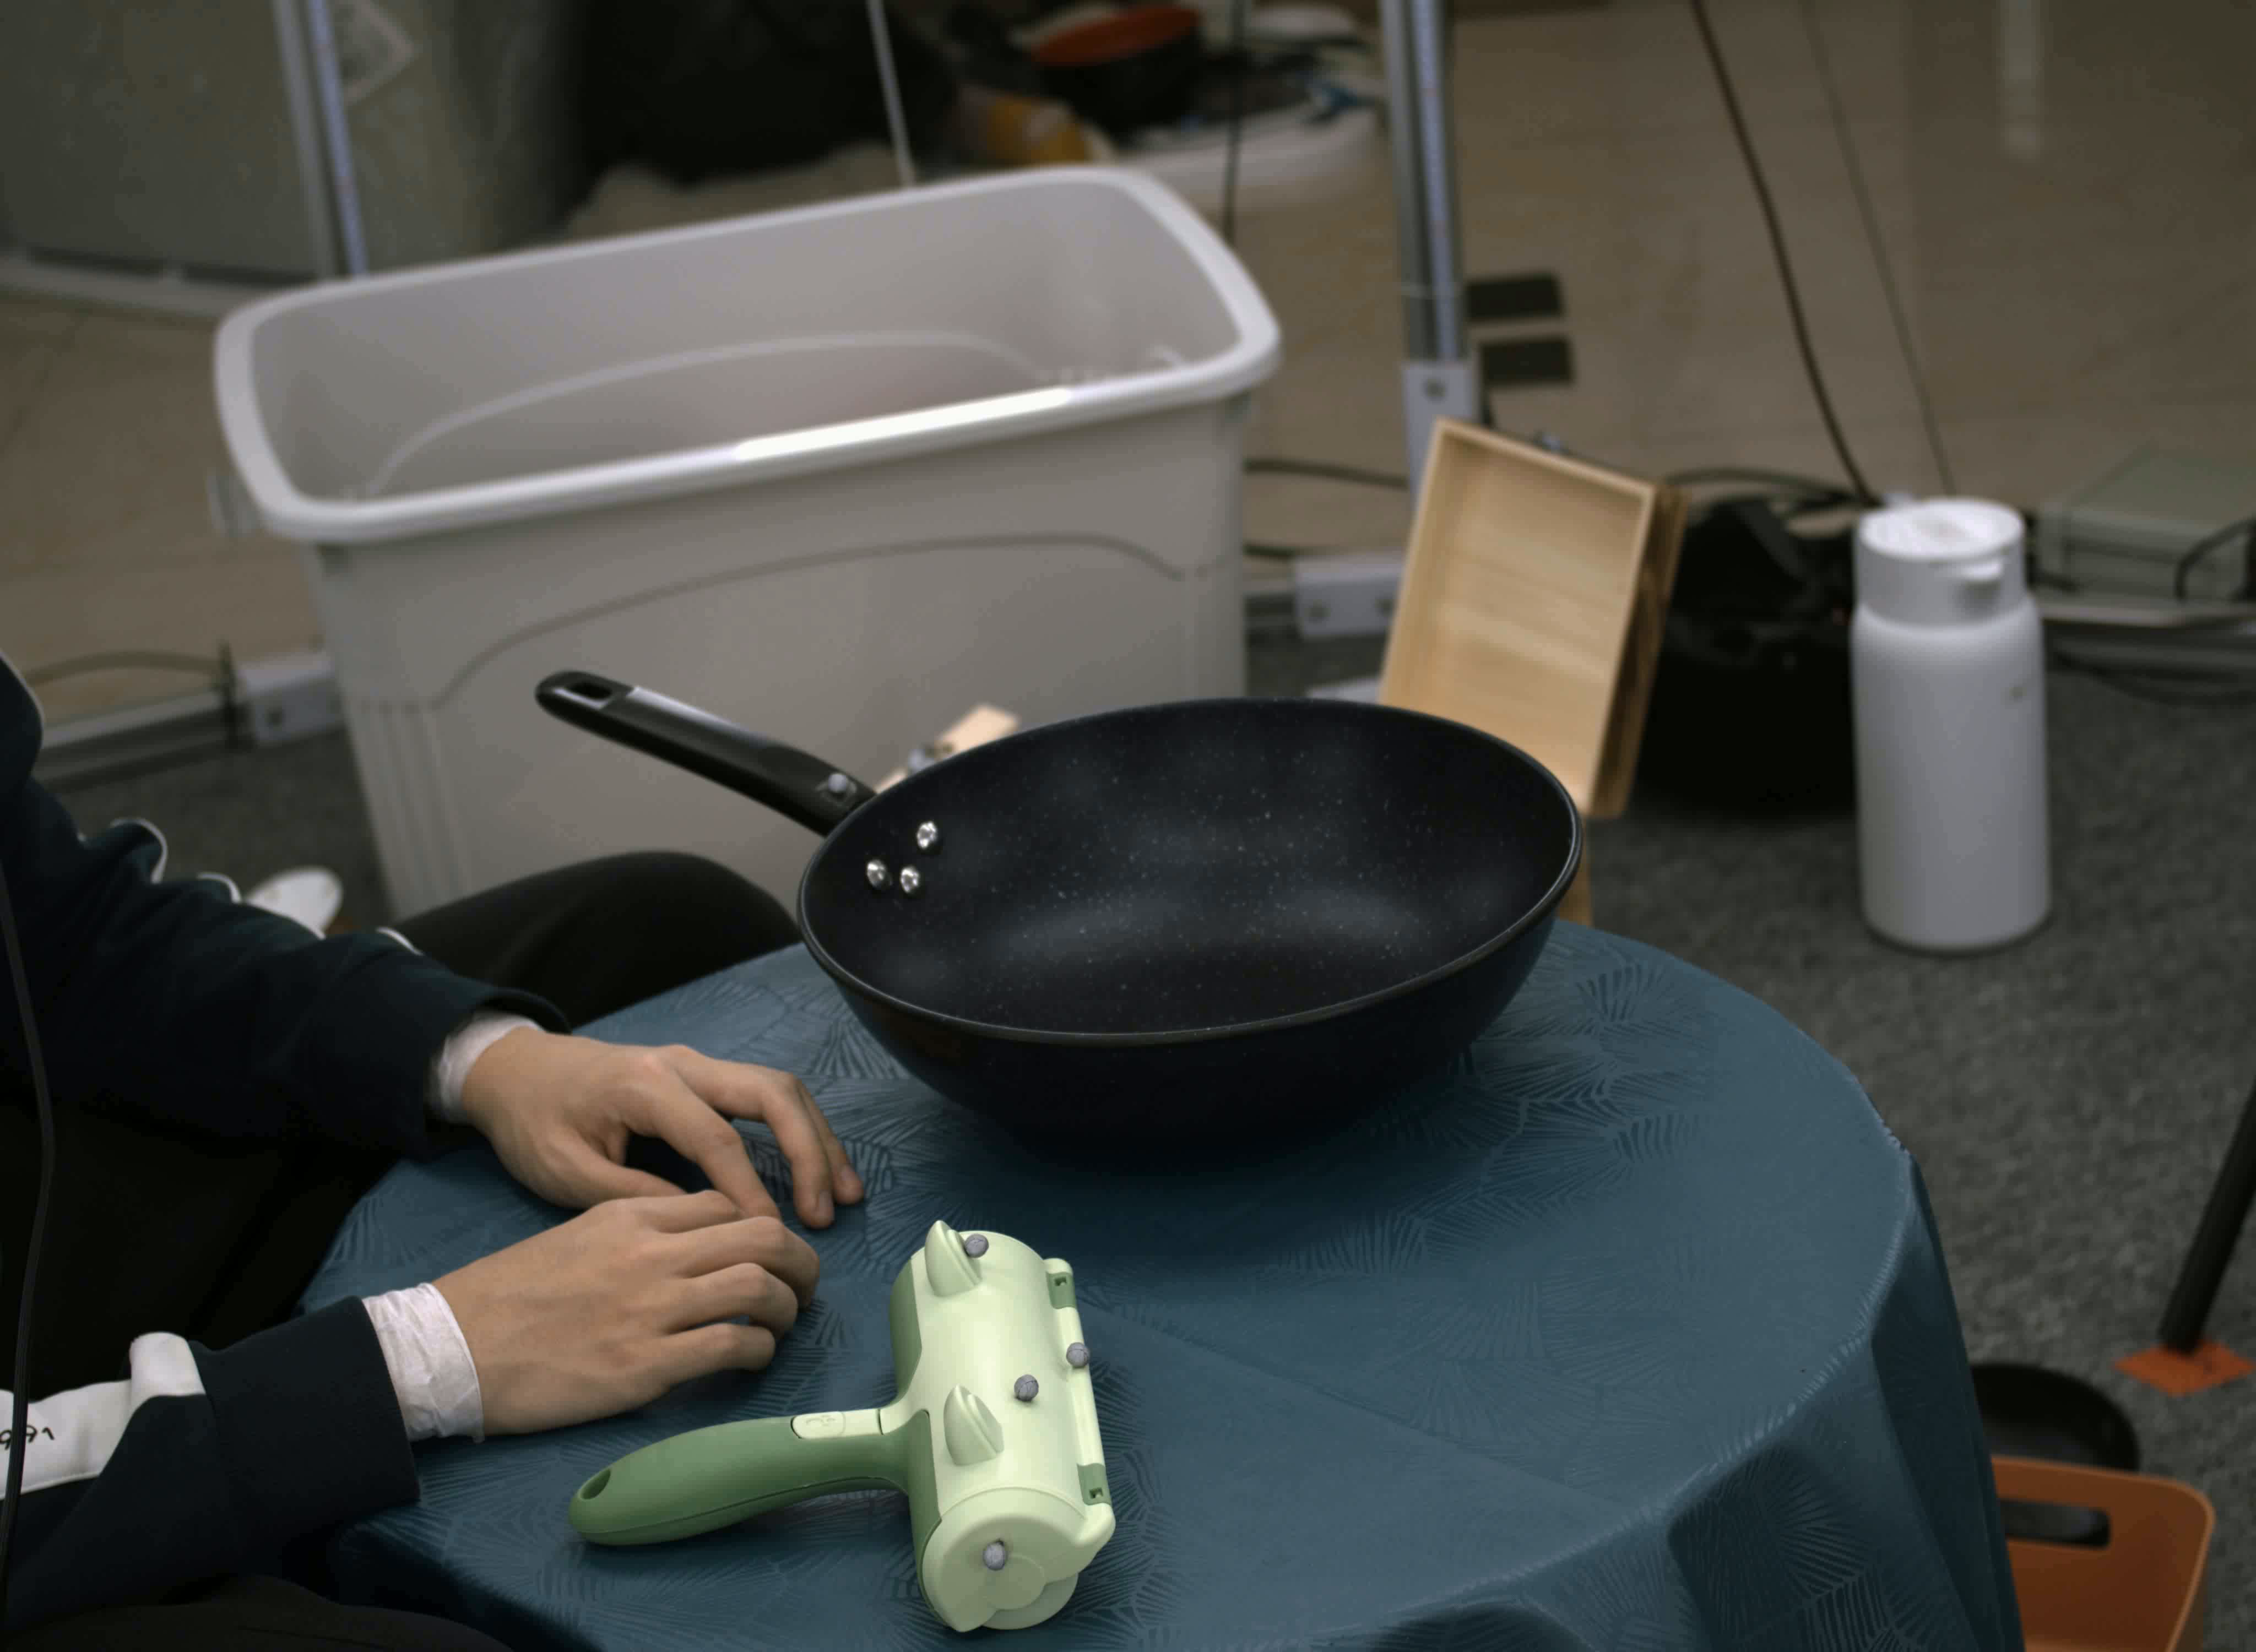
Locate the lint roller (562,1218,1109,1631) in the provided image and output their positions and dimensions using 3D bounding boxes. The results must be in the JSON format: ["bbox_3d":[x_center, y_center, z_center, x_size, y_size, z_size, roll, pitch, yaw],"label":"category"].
[{"bbox_3d":[-0.104,0.201,1.945,0.183,0.083,0.195,-3,25,-4],"label":"lint roller"}]

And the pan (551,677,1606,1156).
[{"bbox_3d":[-0.036,0.029,2.262,0.474,0.113,0.307,11,29,32],"label":"pan"}]
